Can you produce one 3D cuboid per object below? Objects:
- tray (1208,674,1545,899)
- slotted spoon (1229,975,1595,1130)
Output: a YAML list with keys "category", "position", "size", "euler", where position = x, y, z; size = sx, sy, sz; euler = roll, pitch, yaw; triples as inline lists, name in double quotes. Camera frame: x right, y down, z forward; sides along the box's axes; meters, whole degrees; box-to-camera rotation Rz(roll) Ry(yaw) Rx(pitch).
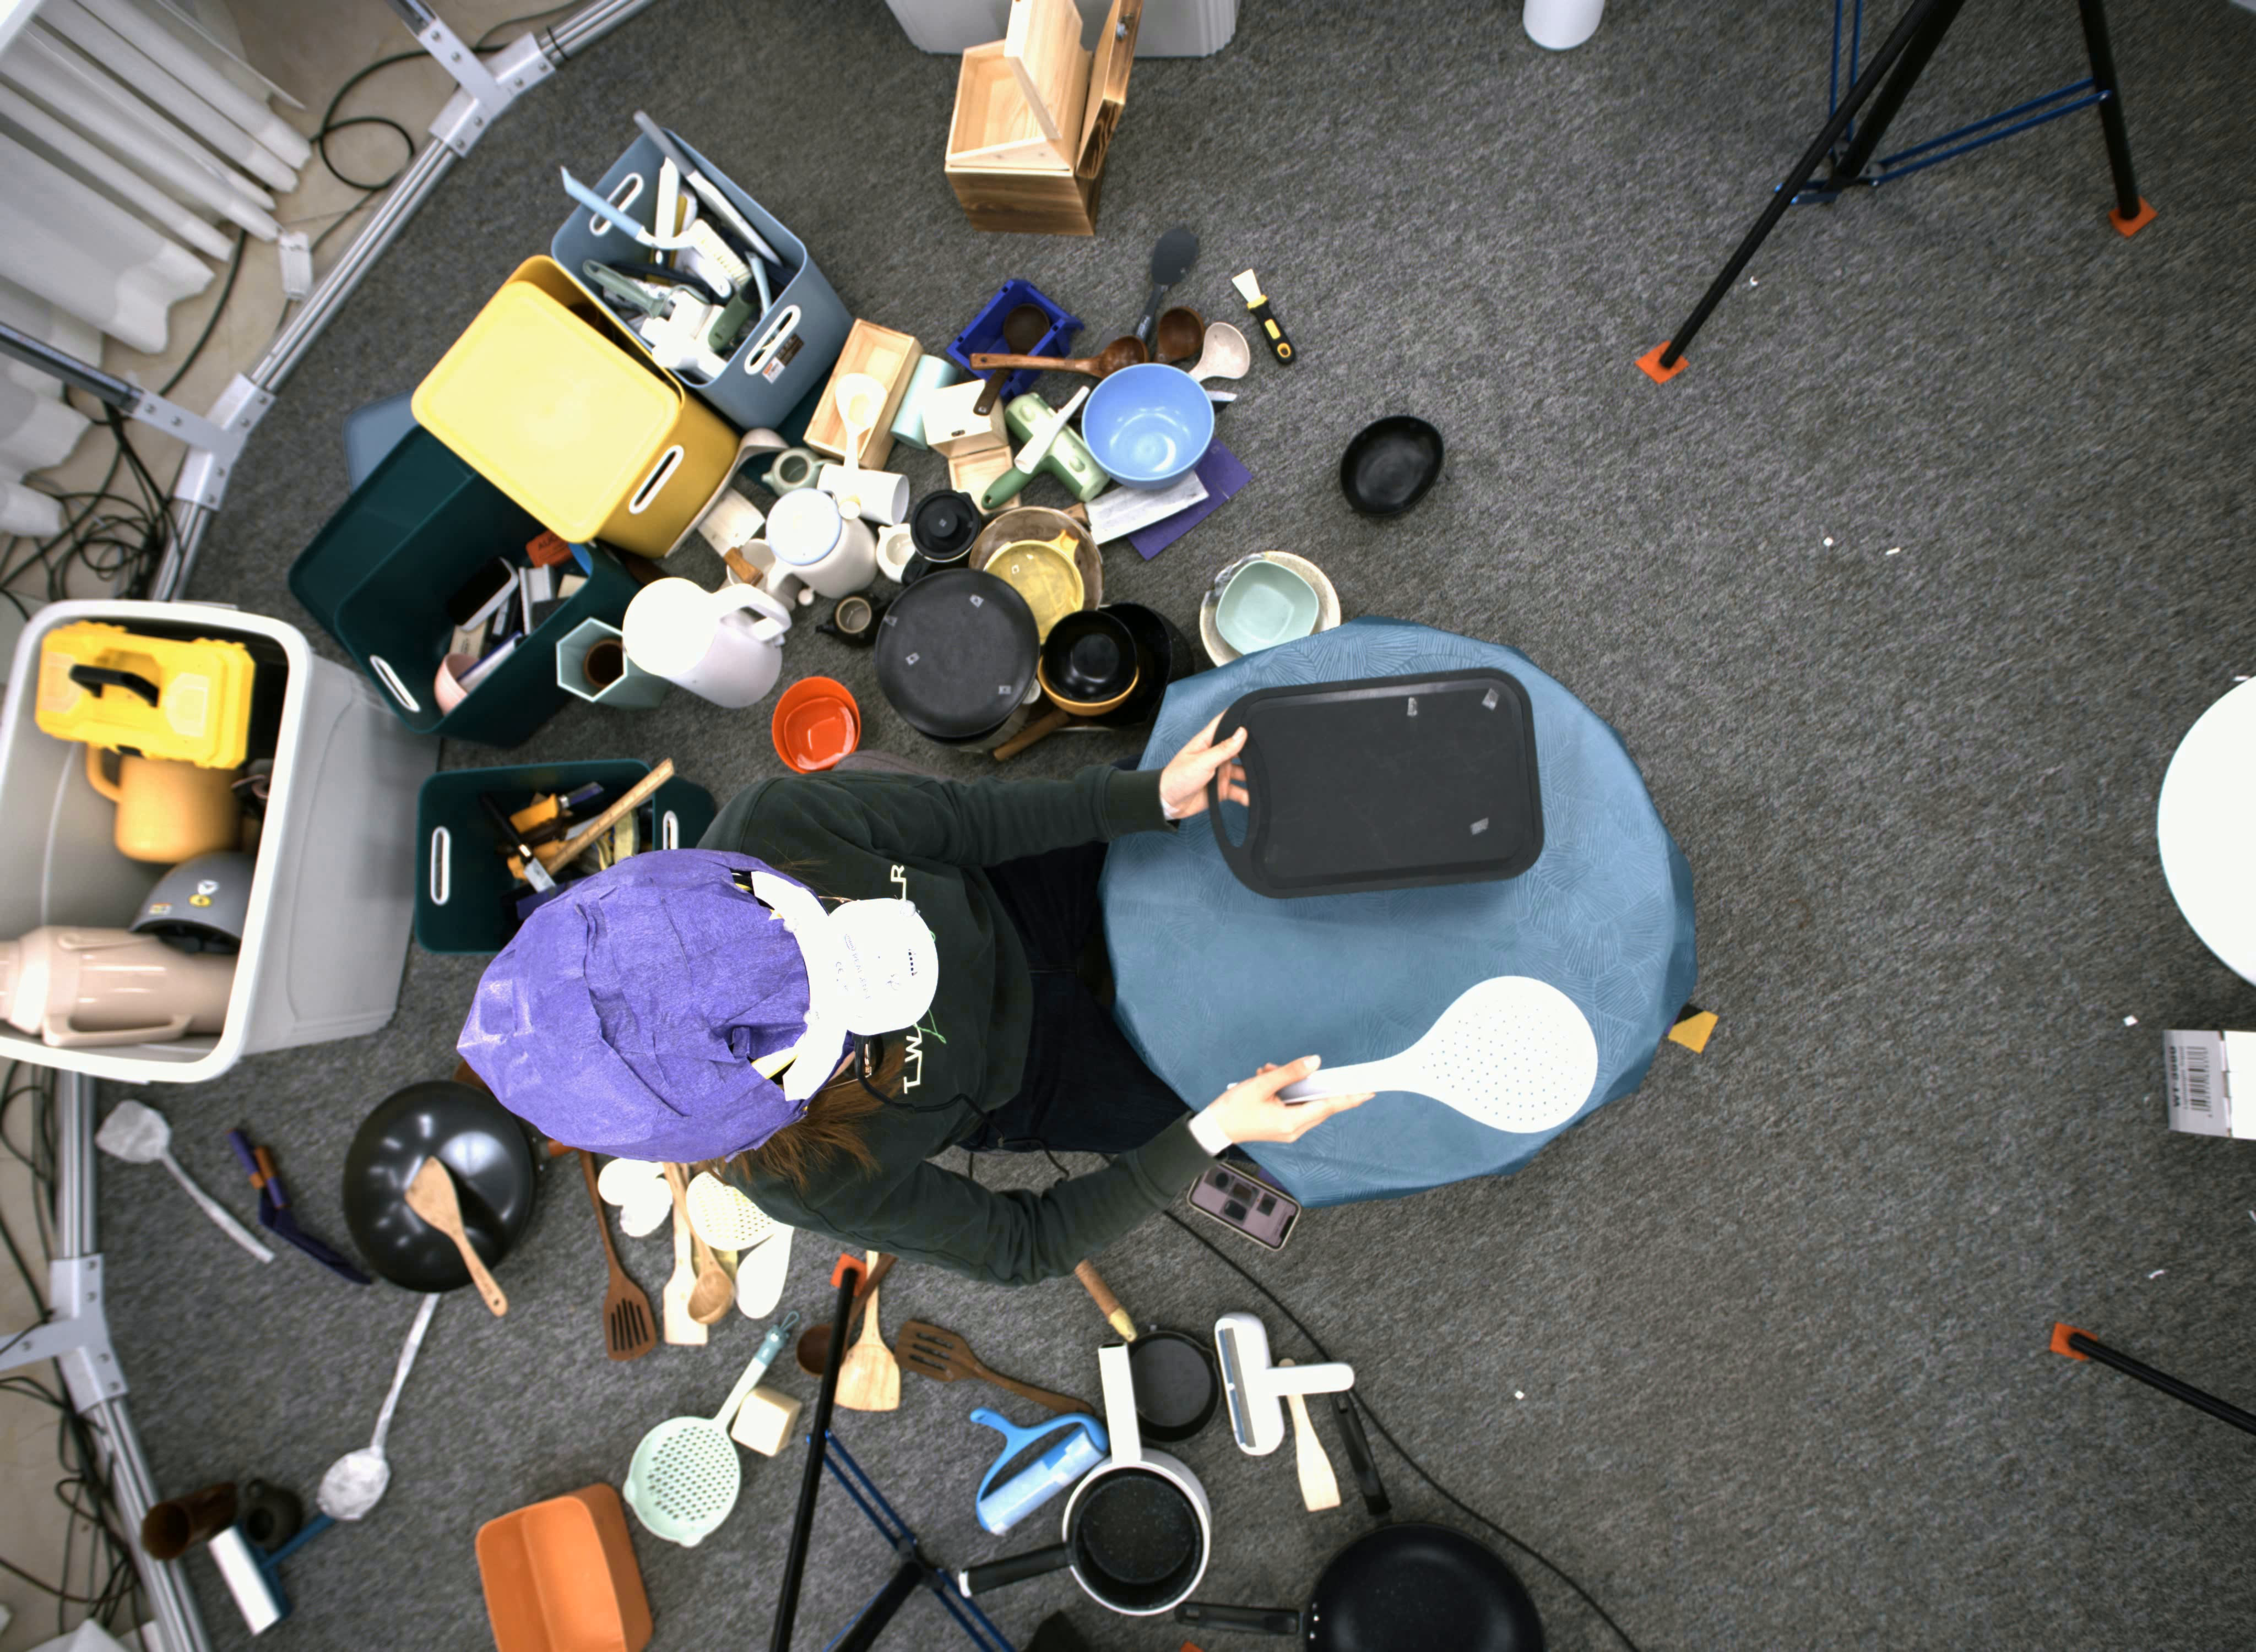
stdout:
- category: "tray"
  position: [0.241, -0.039, 1.354]
  size: [0.326, 0.010, 0.210]
  euler: [-4, 89, 6]
- category: "slotted spoon"
  position: [0.251, 0.224, 1.268]
  size: [0.353, 0.045, 0.135]
  euler: [-15, 83, 24]
